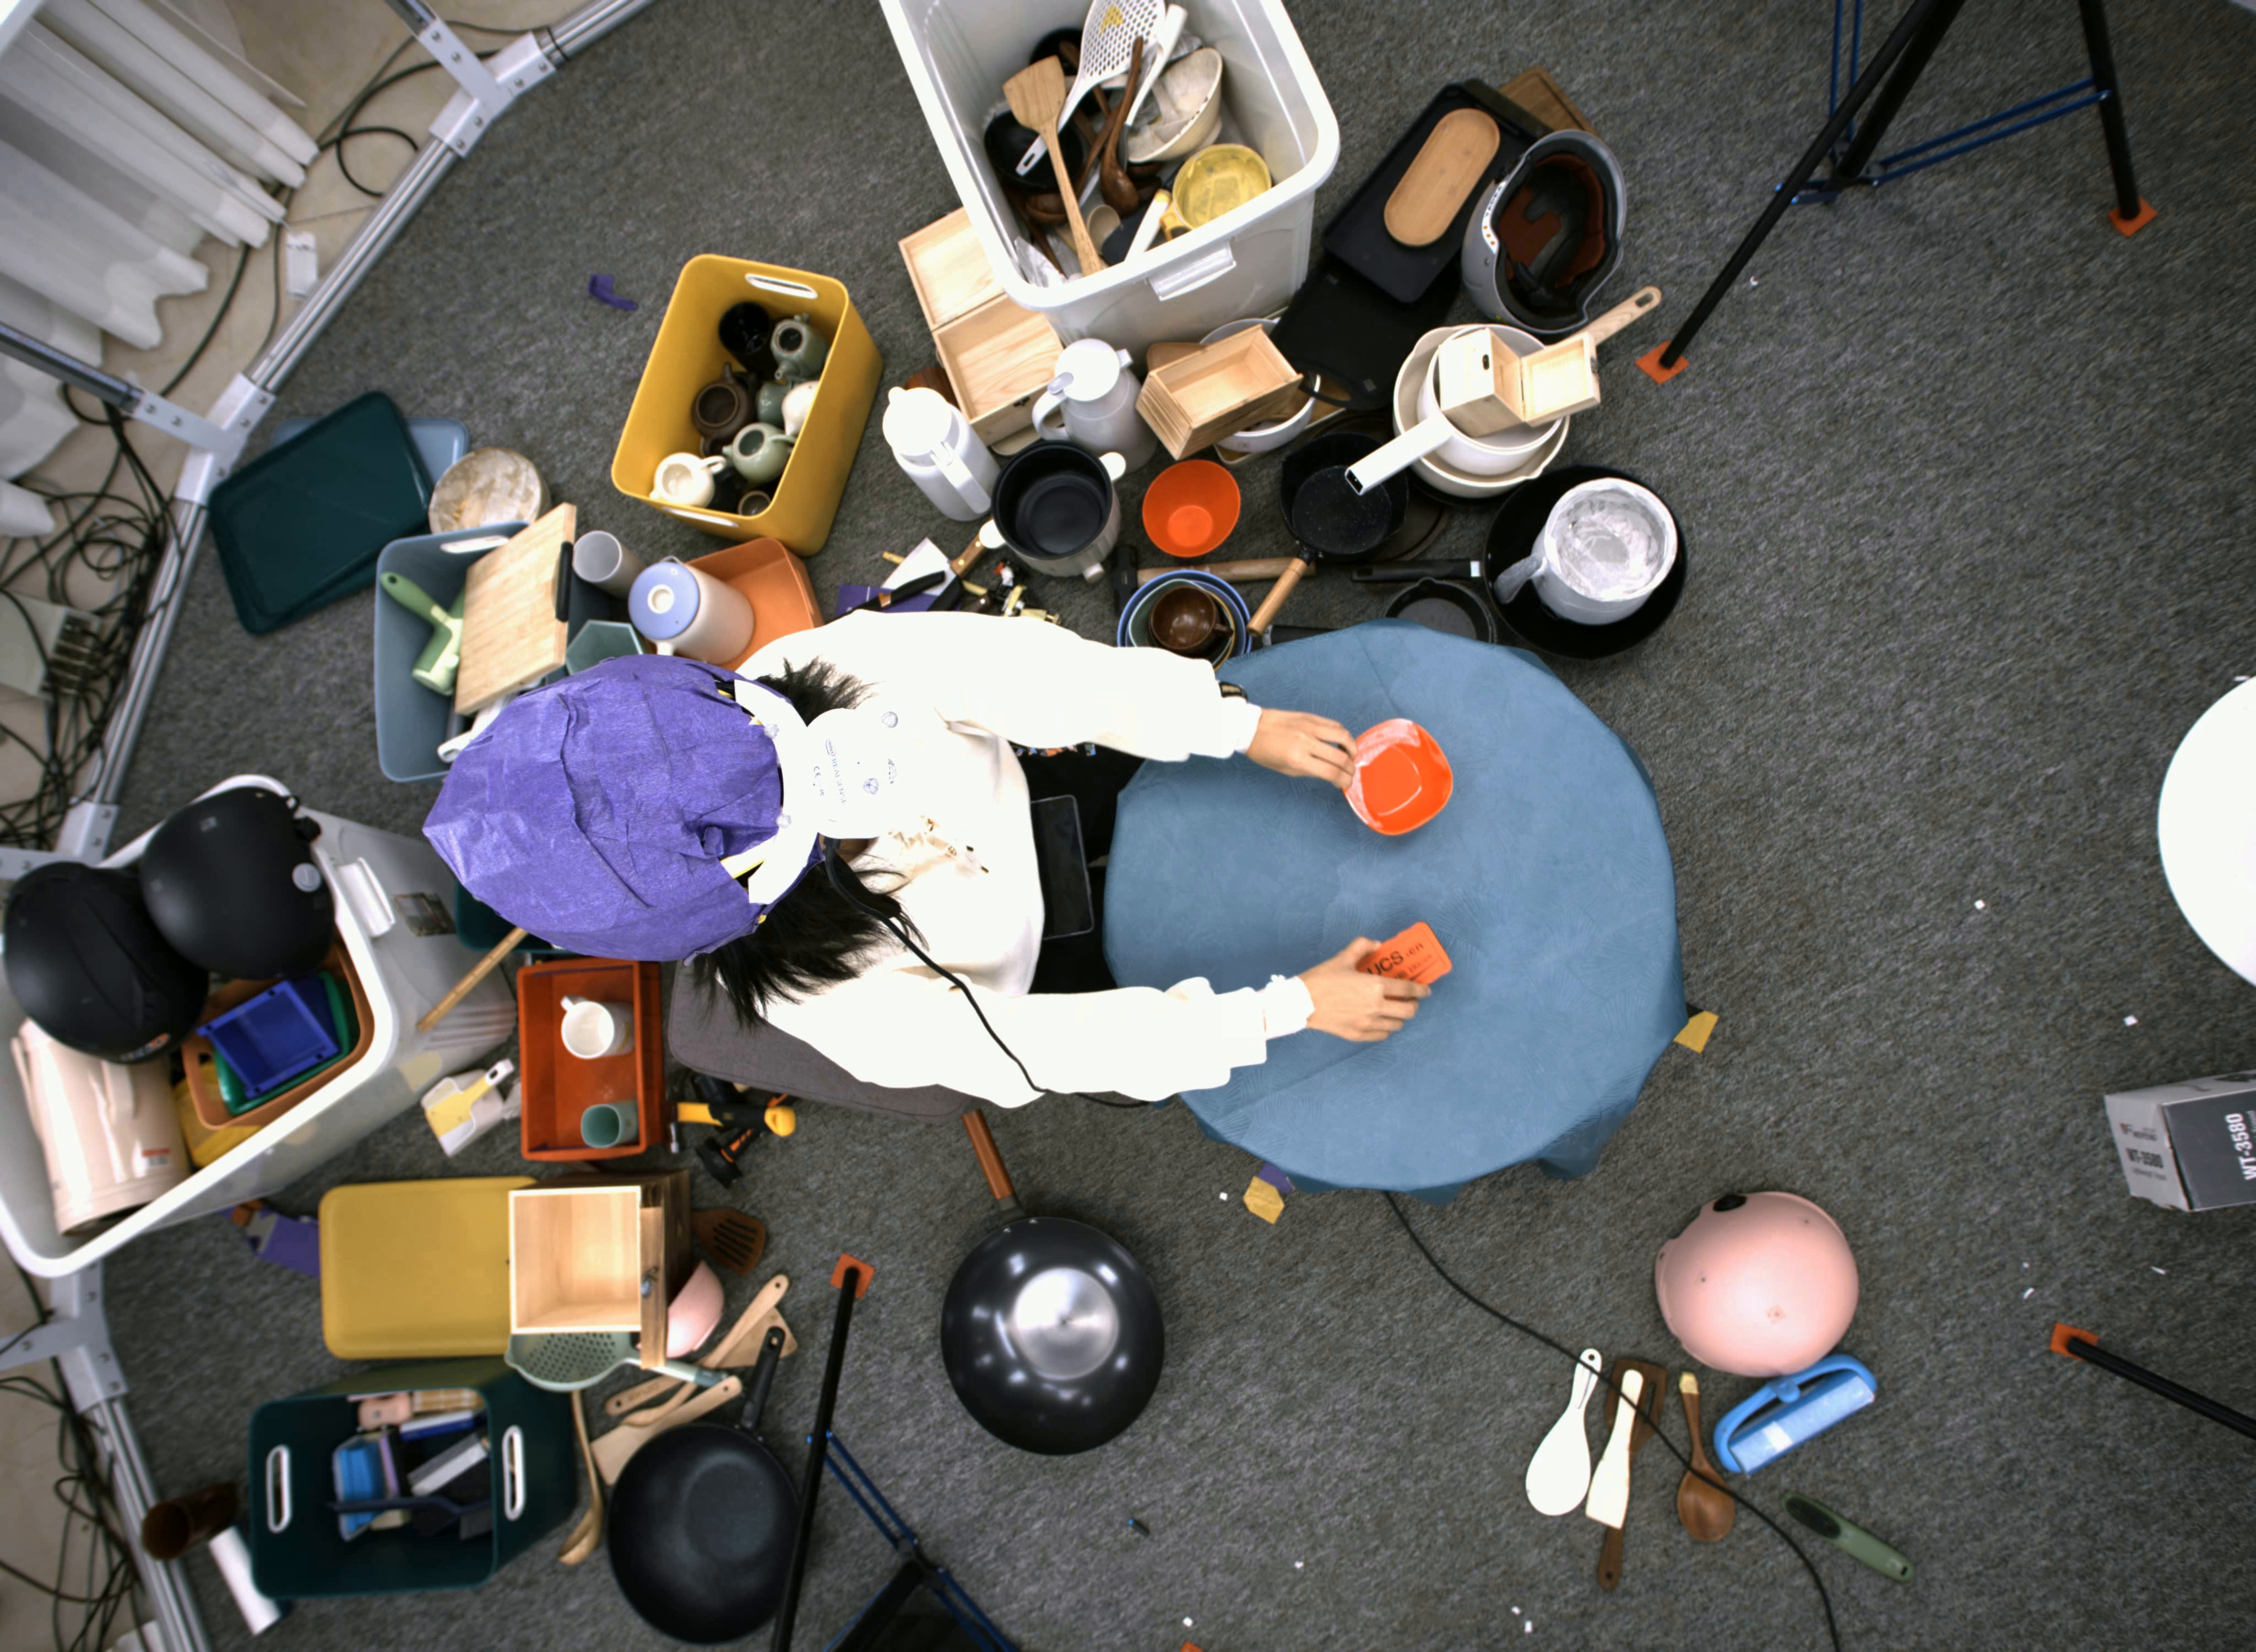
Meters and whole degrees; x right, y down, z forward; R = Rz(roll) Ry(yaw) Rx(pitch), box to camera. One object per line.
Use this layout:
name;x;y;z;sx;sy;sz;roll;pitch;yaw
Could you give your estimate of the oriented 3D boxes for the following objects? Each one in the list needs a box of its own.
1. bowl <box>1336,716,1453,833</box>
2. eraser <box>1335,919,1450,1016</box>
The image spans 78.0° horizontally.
bowl;0.268;-0.052;1.408;0.119;0.051;0.119;0;90;-1
eraser;0.267;0.142;1.397;0.109;0.022;0.059;-34;84;17
